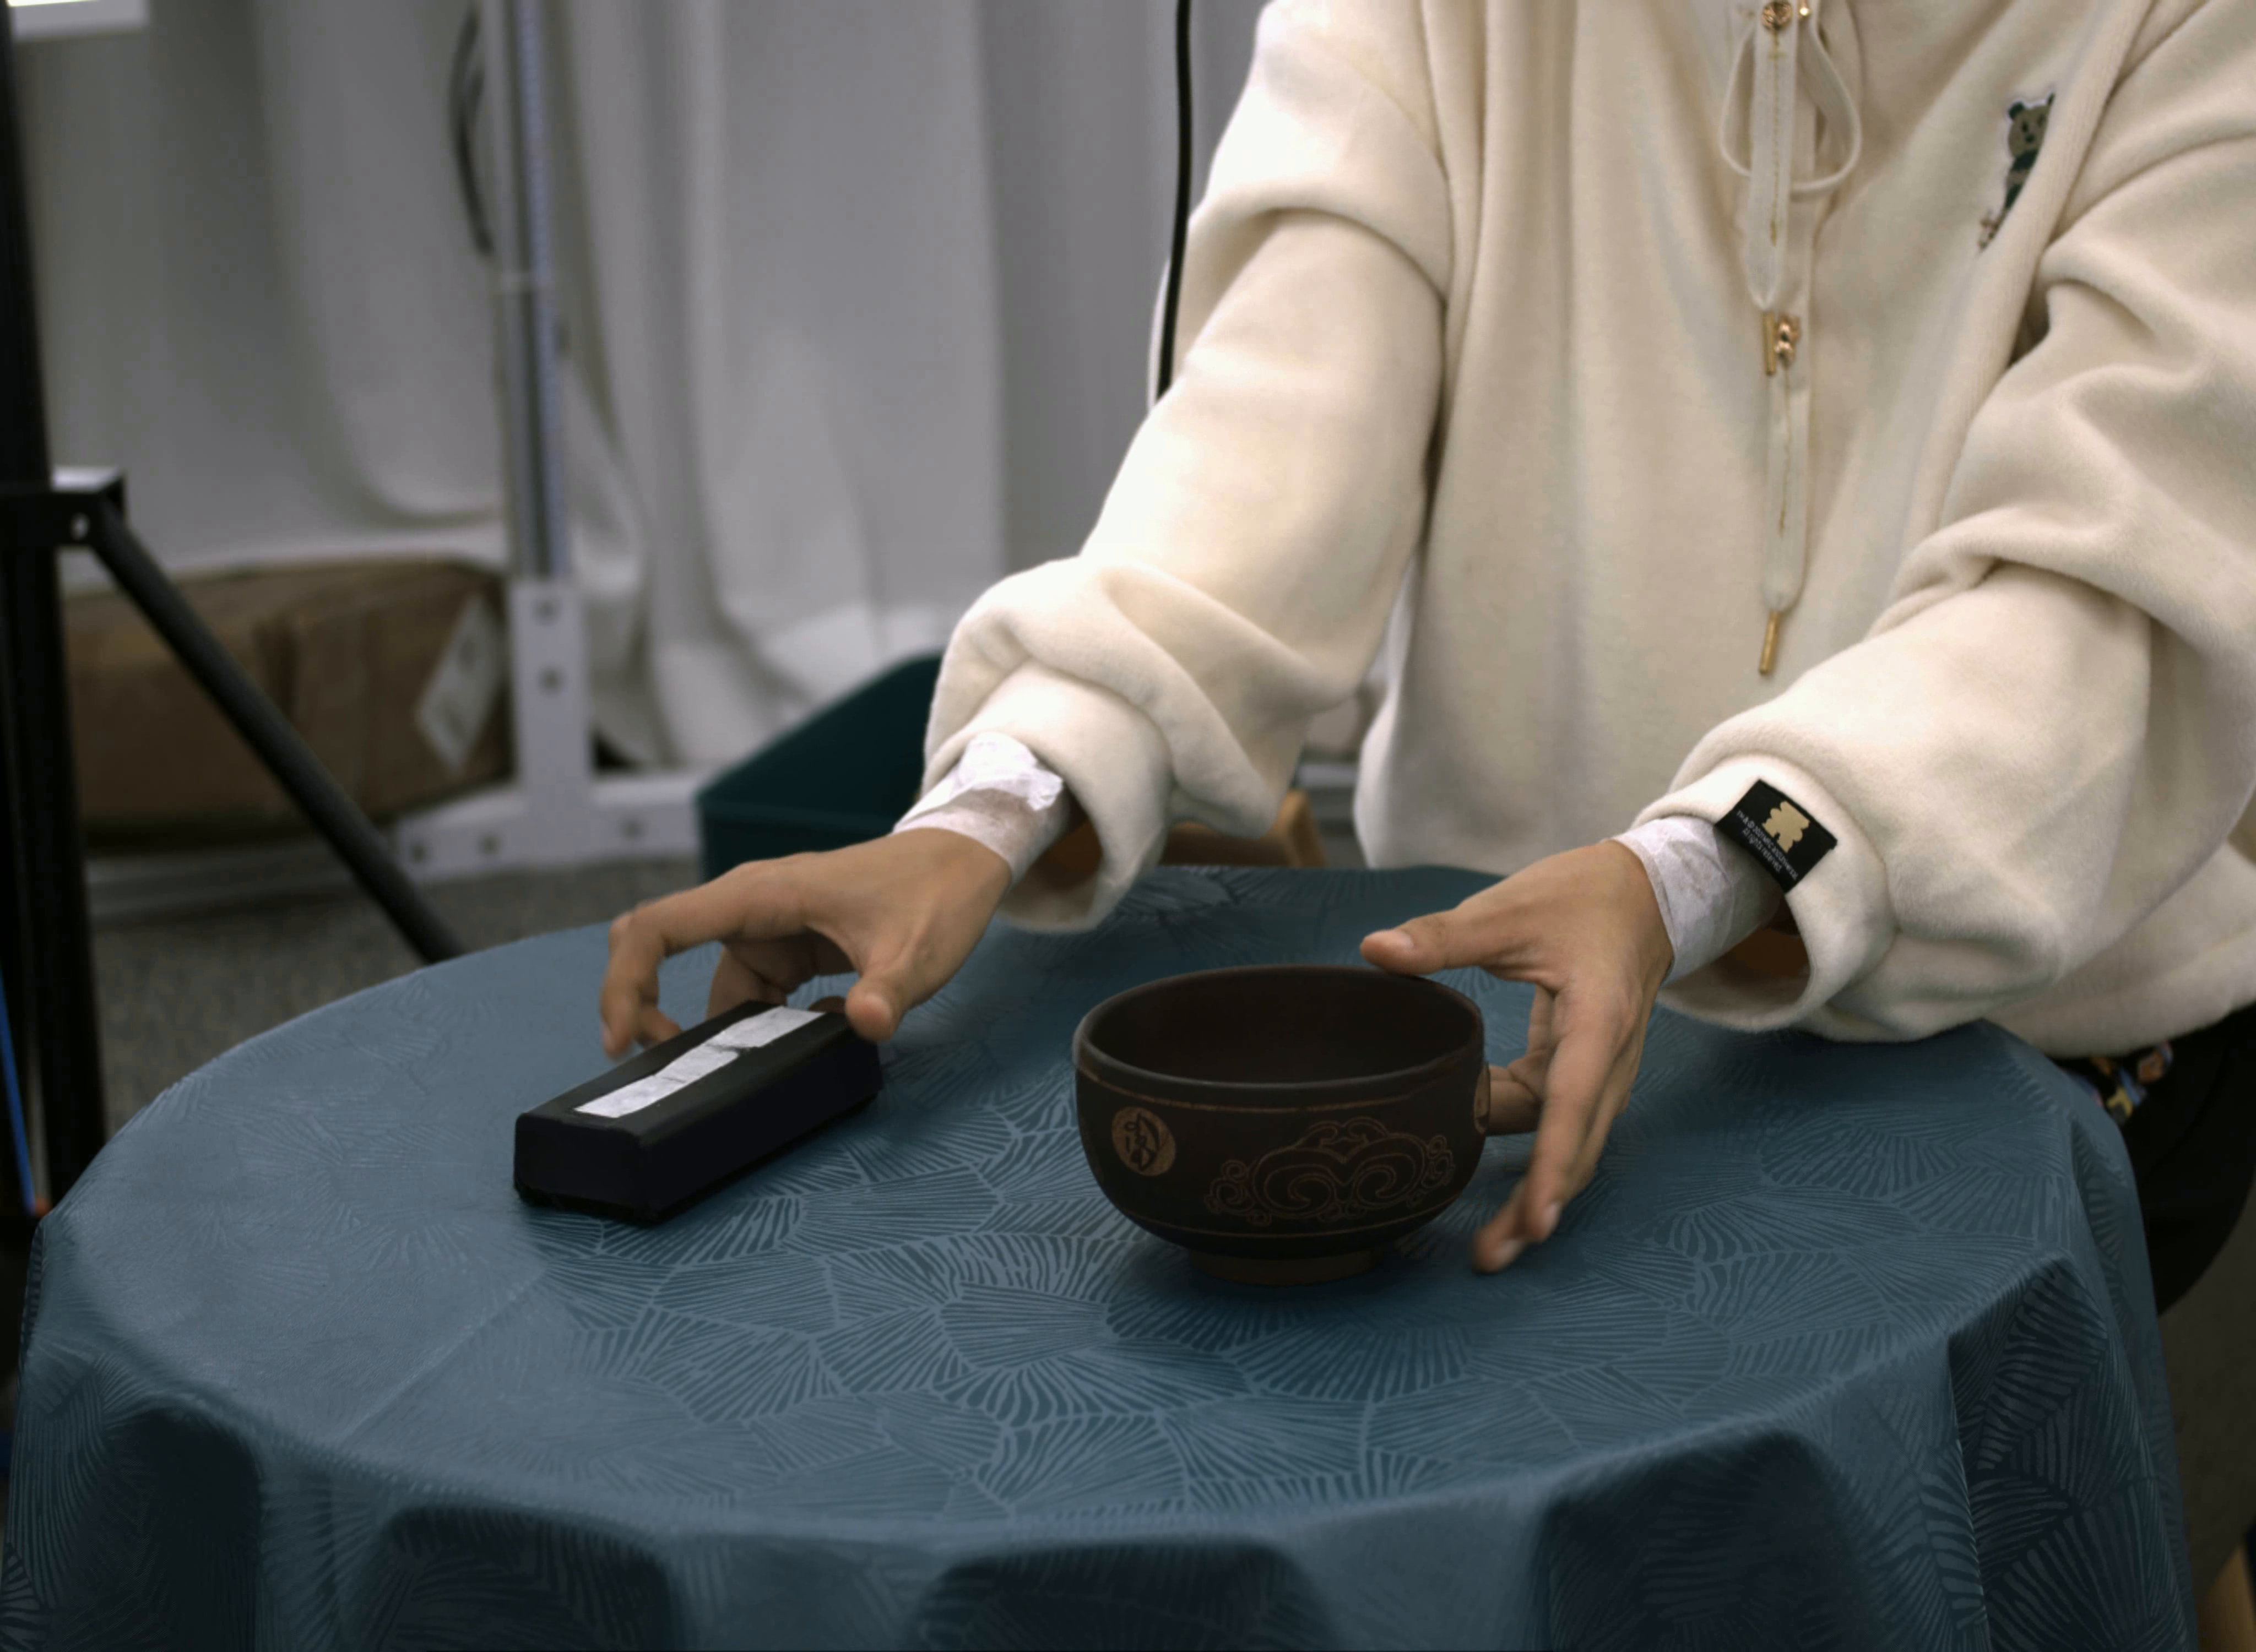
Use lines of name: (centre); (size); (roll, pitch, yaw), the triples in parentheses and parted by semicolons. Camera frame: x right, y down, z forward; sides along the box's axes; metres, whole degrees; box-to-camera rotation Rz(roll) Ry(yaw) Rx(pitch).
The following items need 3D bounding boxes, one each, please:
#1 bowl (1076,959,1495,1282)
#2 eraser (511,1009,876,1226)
bowl: (0.045, 0.087, 1.493); (0.117, 0.070, 0.118); (-3, 14, -1)
eraser: (-0.129, 0.087, 1.605); (0.054, 0.030, 0.123); (8, 17, 29)
